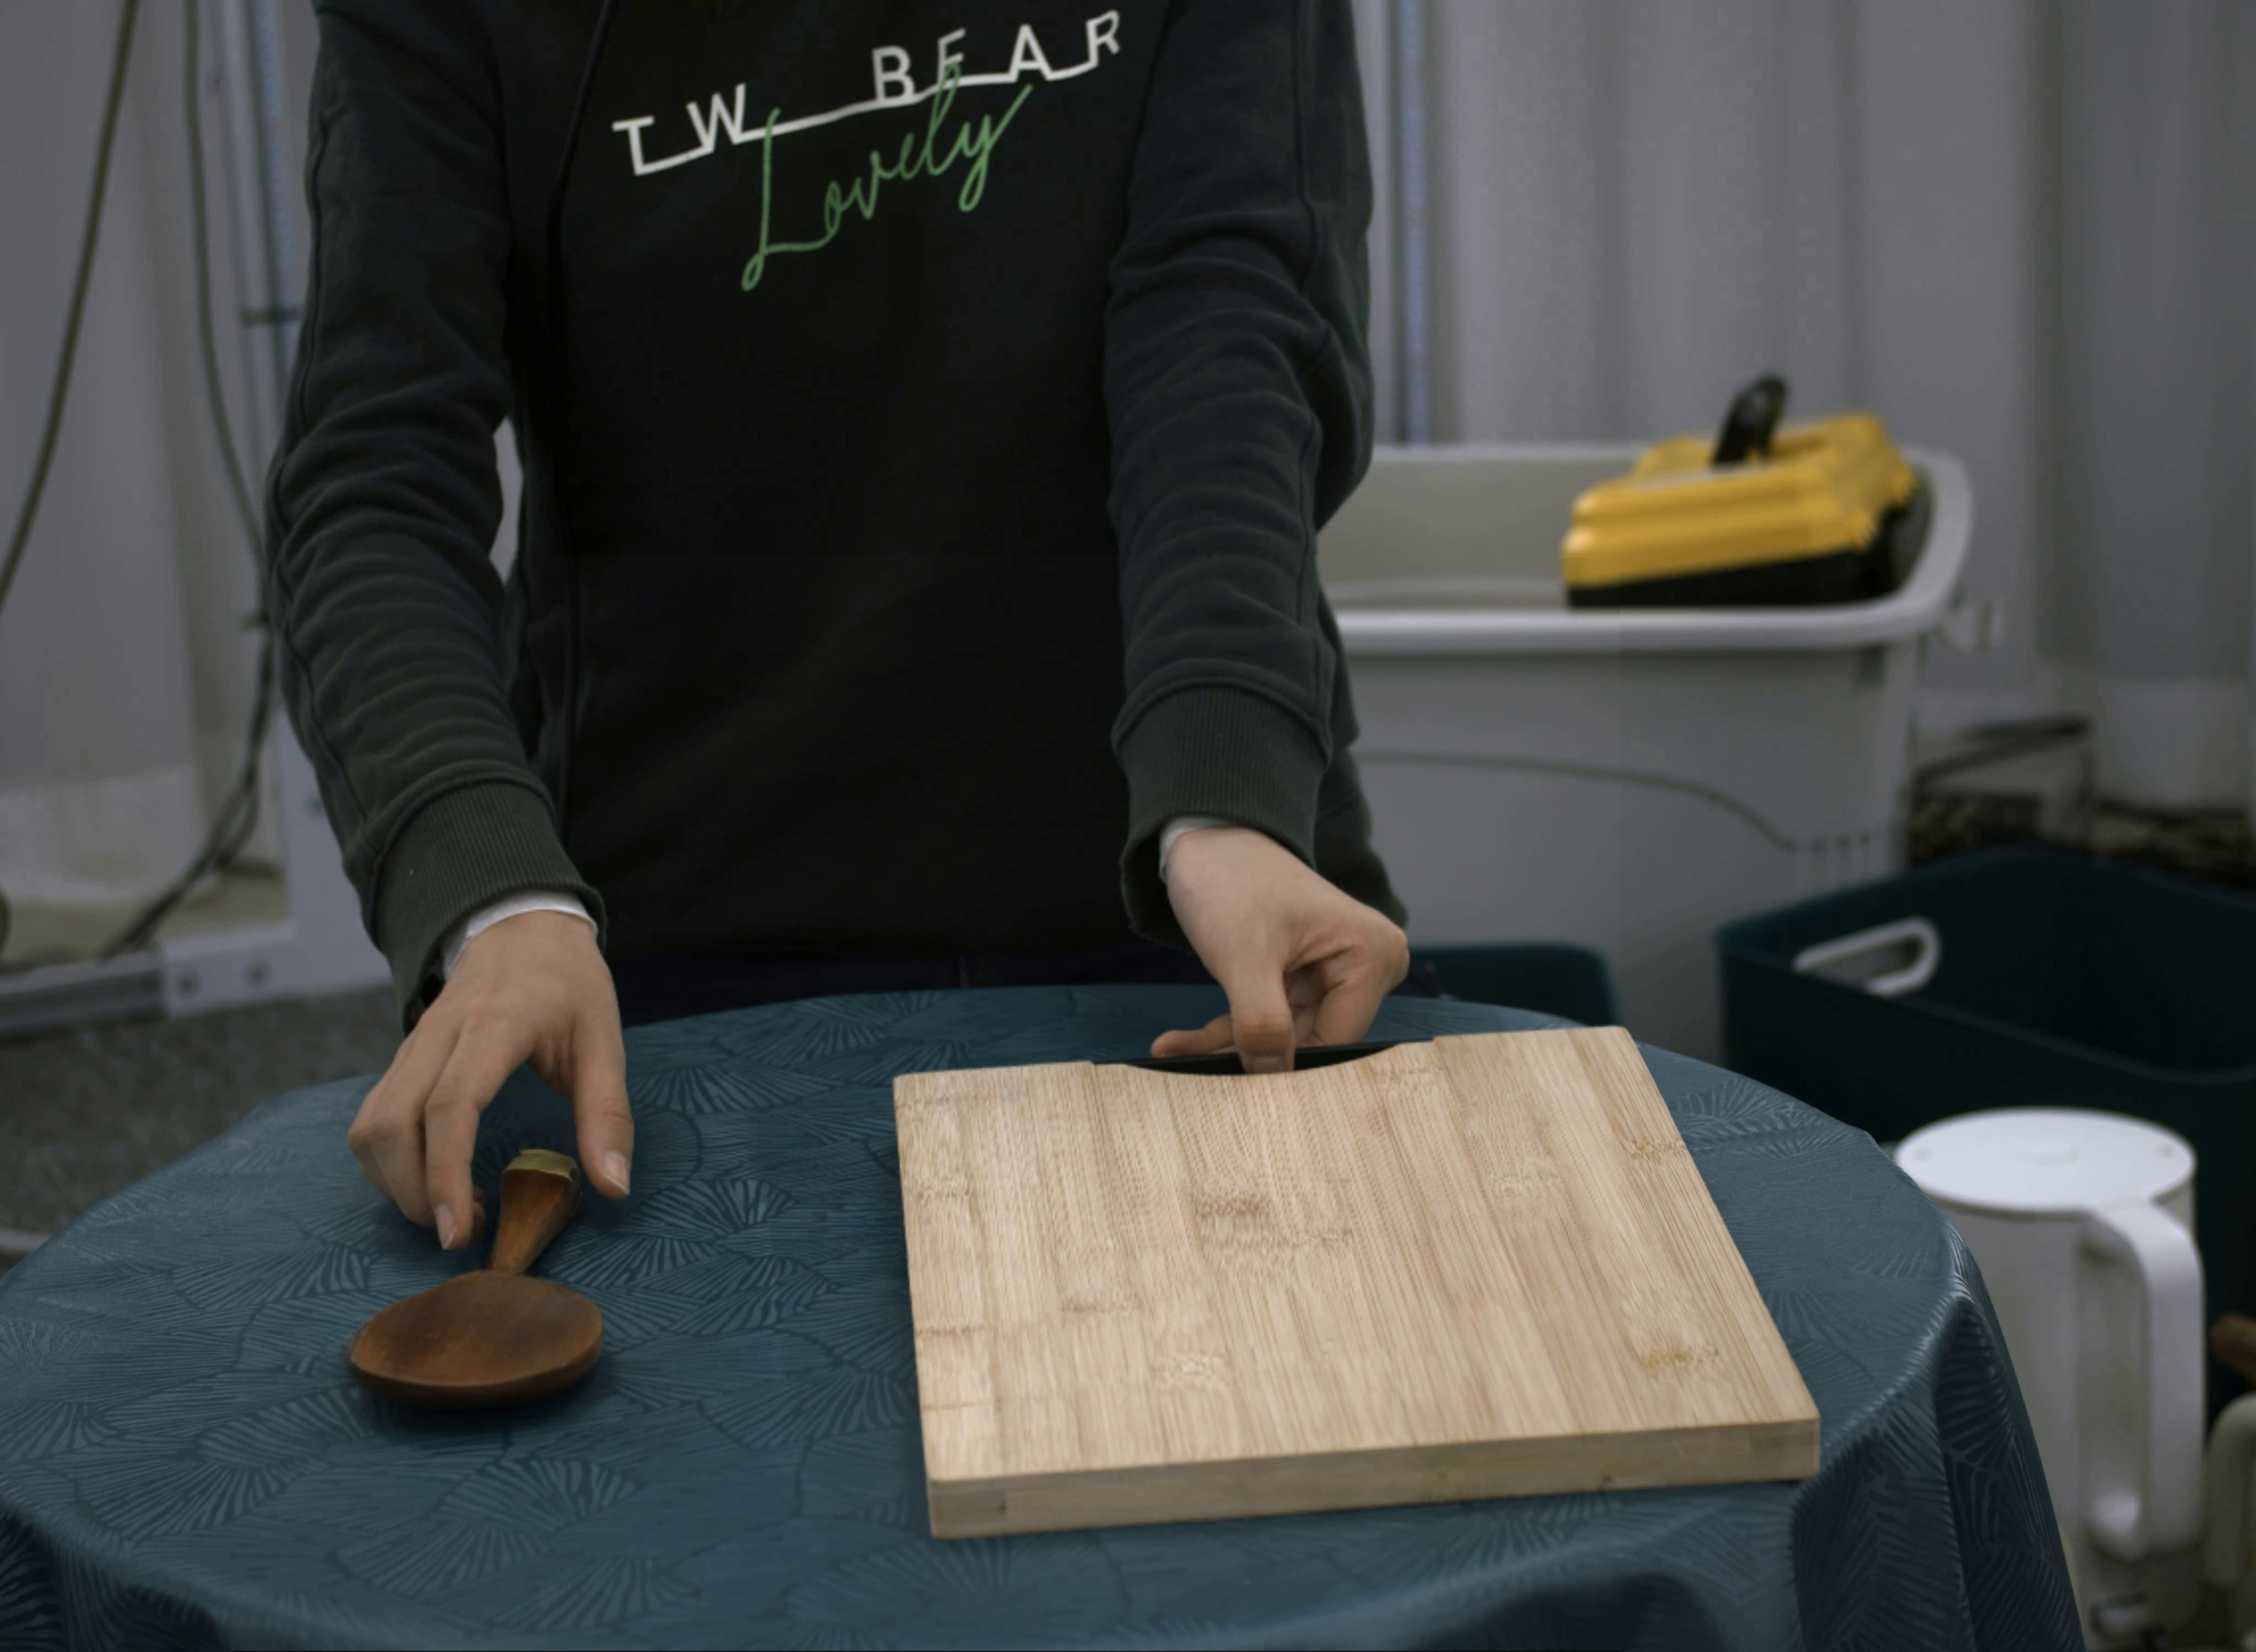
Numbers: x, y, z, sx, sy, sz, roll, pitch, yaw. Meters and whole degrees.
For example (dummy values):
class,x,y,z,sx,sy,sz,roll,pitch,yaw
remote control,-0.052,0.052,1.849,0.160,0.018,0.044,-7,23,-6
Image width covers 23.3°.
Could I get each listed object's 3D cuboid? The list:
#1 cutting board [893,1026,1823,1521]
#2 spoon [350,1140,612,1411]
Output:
class,x,y,z,sx,sy,sz,roll,pitch,yaw
cutting board,0.055,0.127,1.618,0.250,0.023,0.351,-3,16,-4
spoon,-0.185,0.135,1.637,0.075,0.017,0.217,-4,15,2
